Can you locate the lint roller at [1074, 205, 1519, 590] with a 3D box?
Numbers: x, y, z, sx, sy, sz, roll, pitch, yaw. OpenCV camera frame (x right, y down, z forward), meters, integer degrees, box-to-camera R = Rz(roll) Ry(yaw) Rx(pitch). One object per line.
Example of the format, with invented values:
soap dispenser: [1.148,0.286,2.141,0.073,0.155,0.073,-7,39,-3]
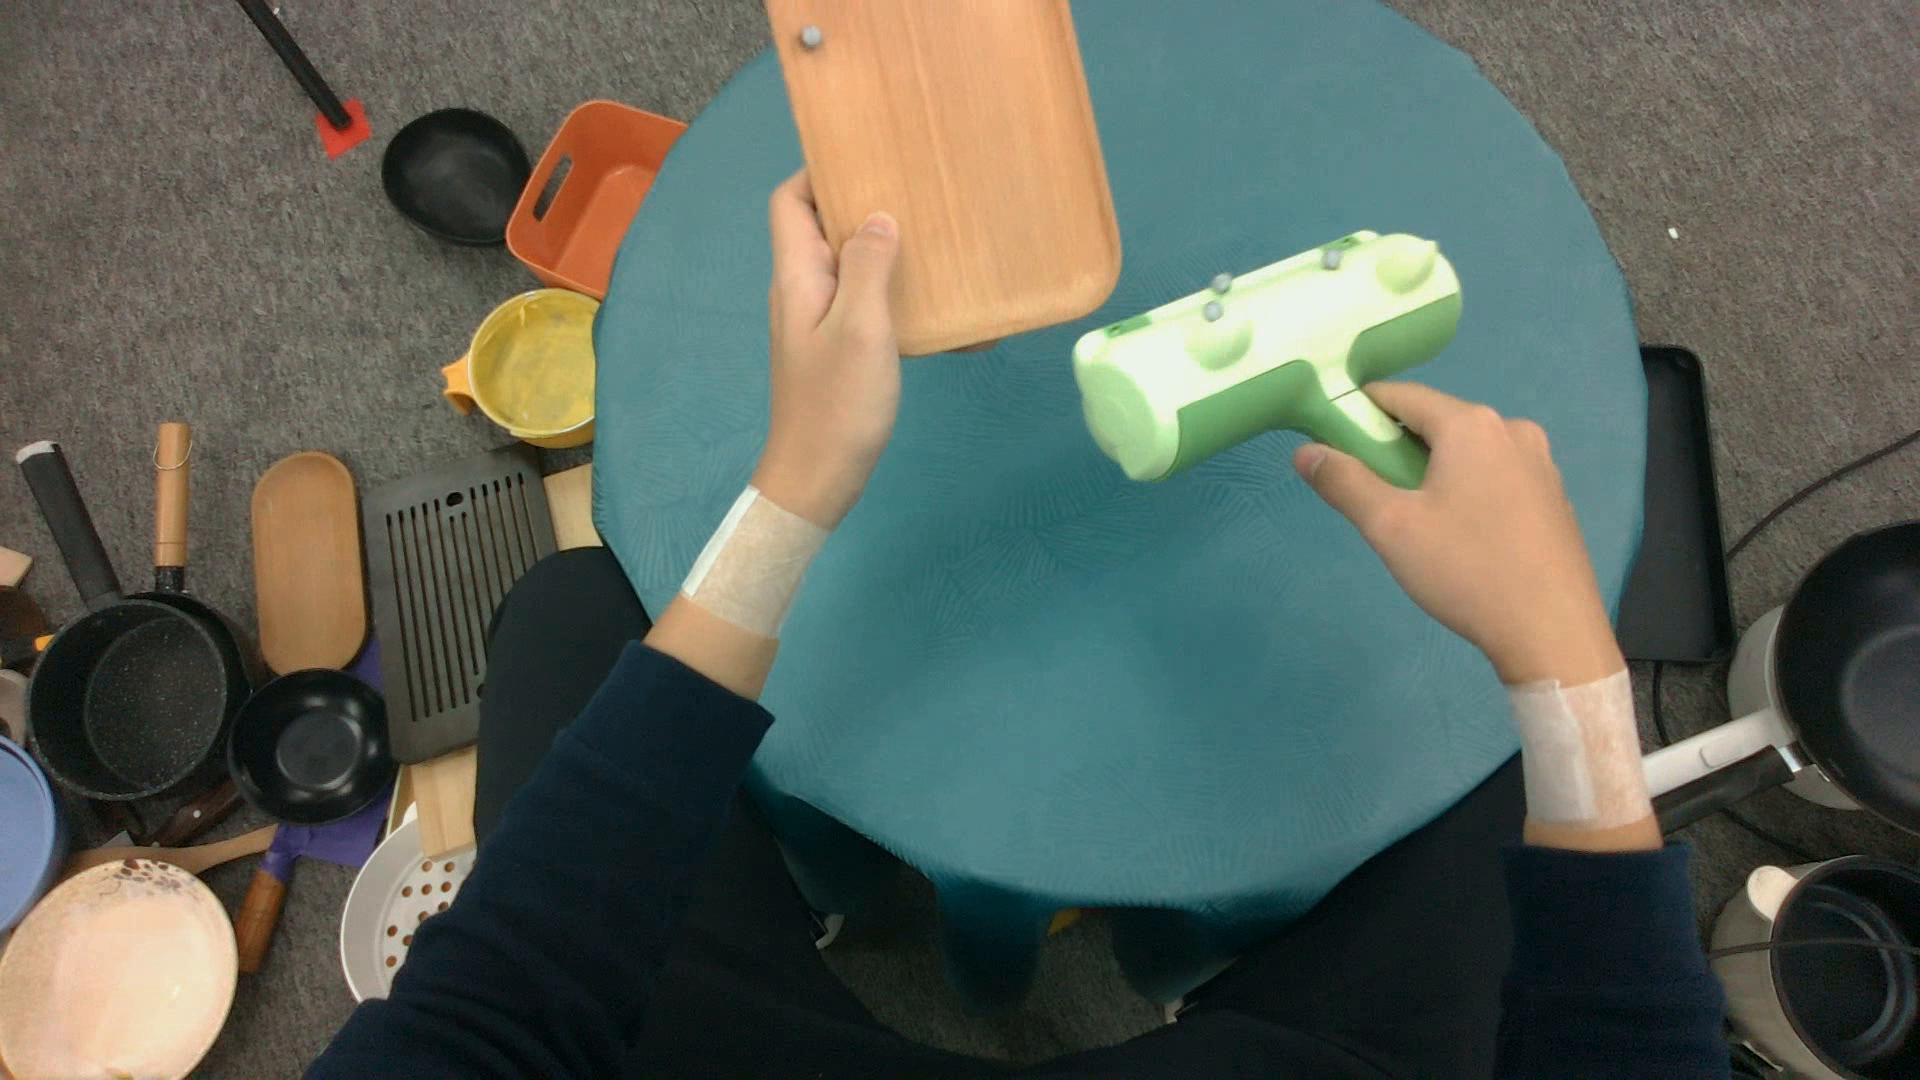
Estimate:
lint roller: [0.173,-0.064,0.572,0.199,0.082,0.183,-24,59,-30]

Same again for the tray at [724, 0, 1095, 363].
tray: [-0.028,-0.205,0.589,0.131,0.023,0.250,-16,93,-13]
